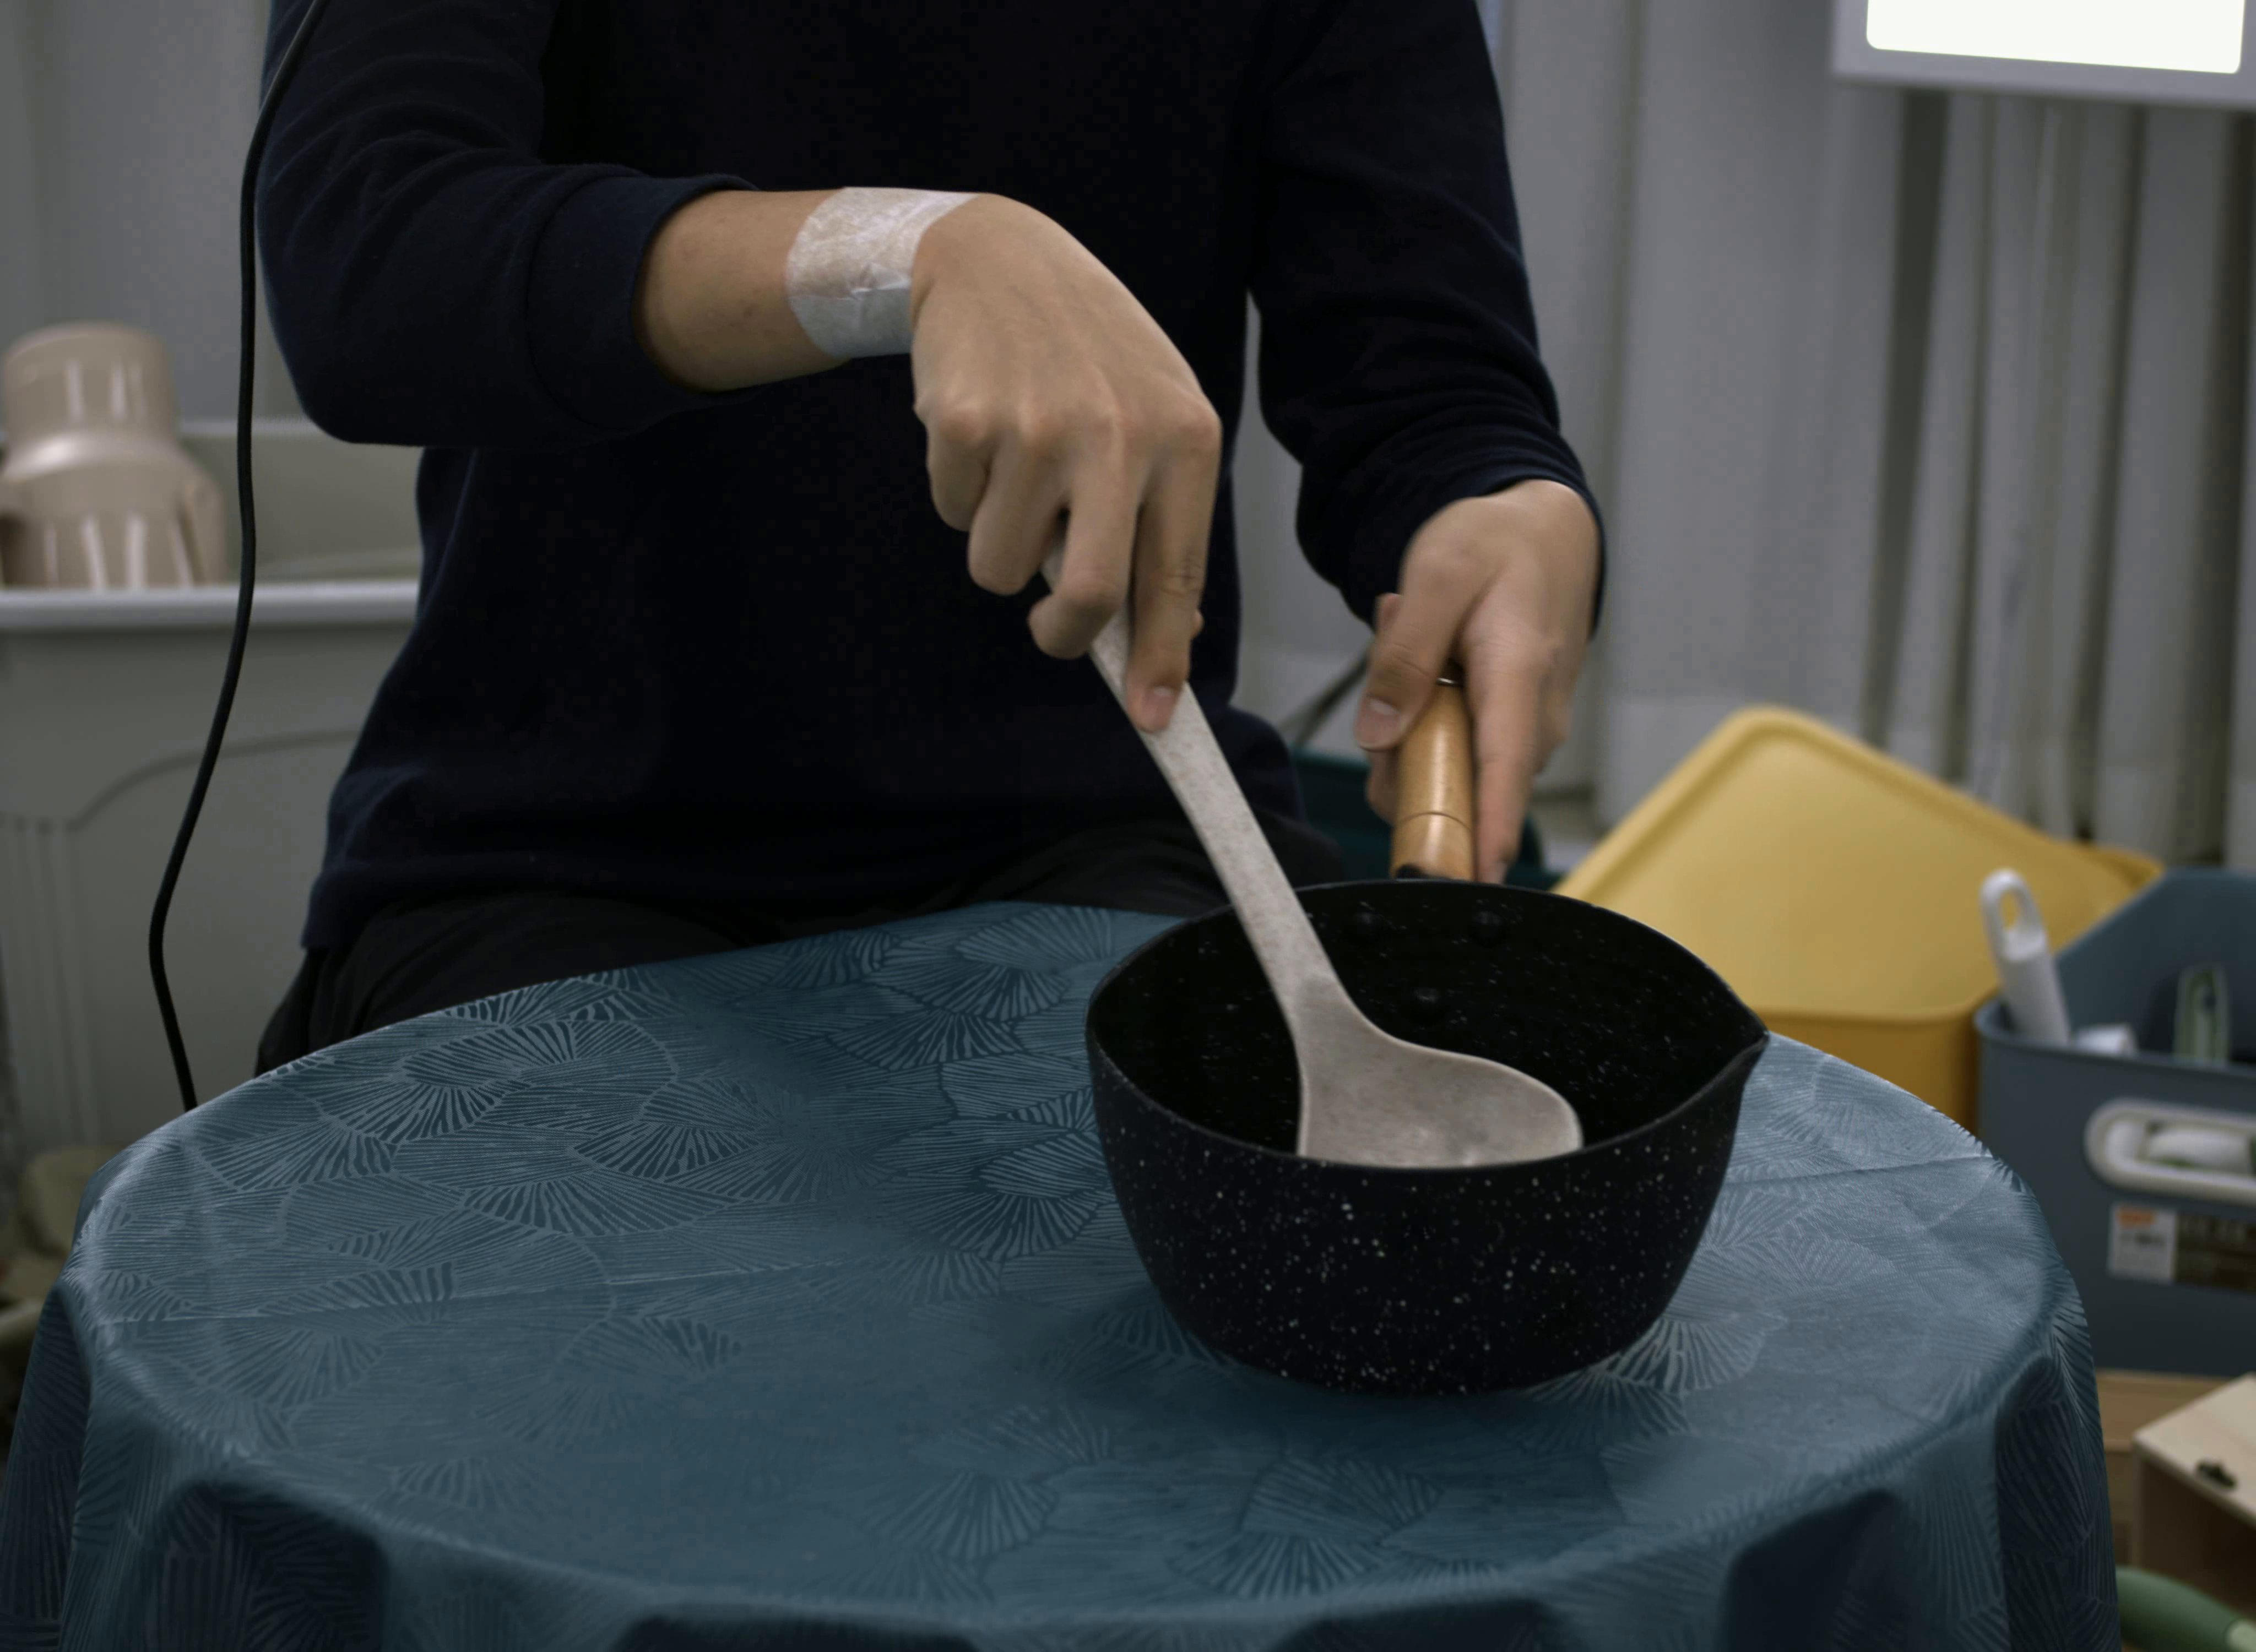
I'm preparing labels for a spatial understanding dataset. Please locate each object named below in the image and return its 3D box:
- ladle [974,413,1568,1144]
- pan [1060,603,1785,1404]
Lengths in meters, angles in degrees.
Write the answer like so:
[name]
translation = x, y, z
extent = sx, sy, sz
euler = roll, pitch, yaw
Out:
[ladle]
translation = 0.037, -0.003, 1.516
extent = 0.089, 0.276, 0.069
euler = -30, 6, -30
[pan]
translation = 0.089, 0.048, 1.574
extent = 0.206, 0.109, 0.340
euler = 1, 26, 4
